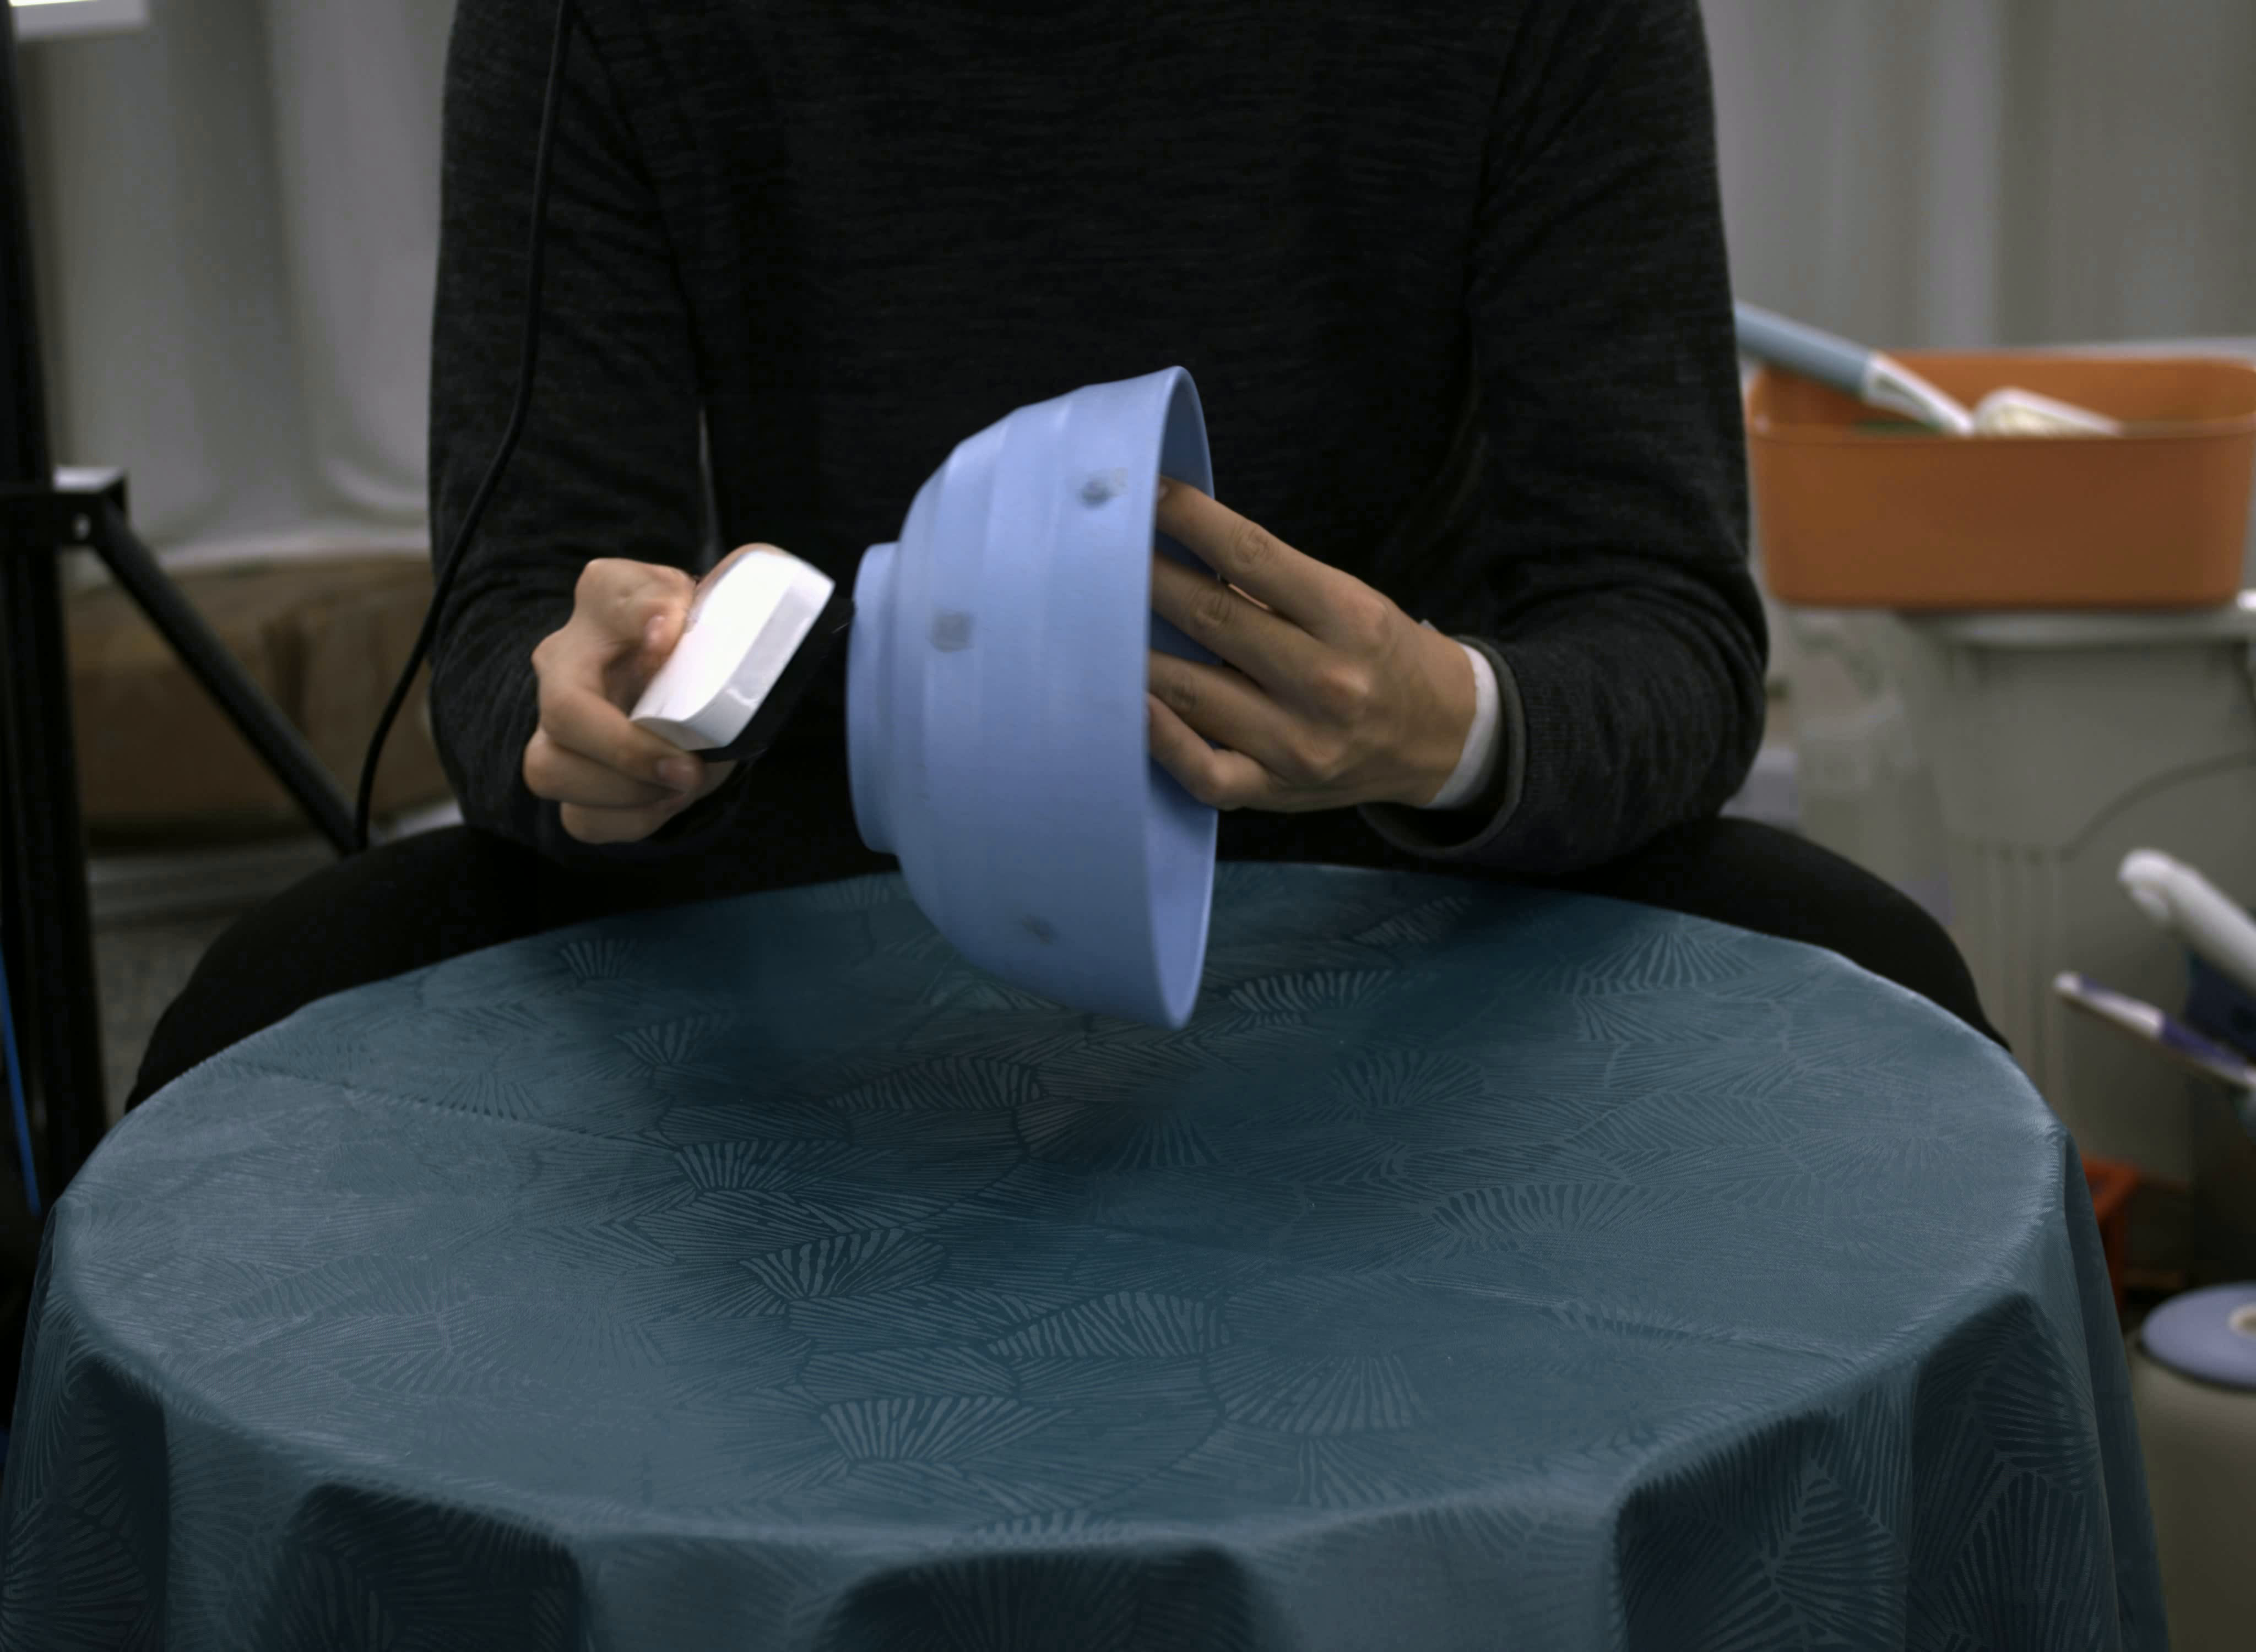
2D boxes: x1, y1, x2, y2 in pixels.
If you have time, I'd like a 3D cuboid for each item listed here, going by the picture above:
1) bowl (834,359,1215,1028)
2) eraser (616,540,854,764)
[{"bbox_3d":[-0.032,-0.039,1.581,0.096,0.196,0.196,0,16,9],"label":"bowl"},{"bbox_3d":[-0.119,-0.051,1.598,0.034,0.063,0.132,36,-8,-12],"label":"eraser"}]
